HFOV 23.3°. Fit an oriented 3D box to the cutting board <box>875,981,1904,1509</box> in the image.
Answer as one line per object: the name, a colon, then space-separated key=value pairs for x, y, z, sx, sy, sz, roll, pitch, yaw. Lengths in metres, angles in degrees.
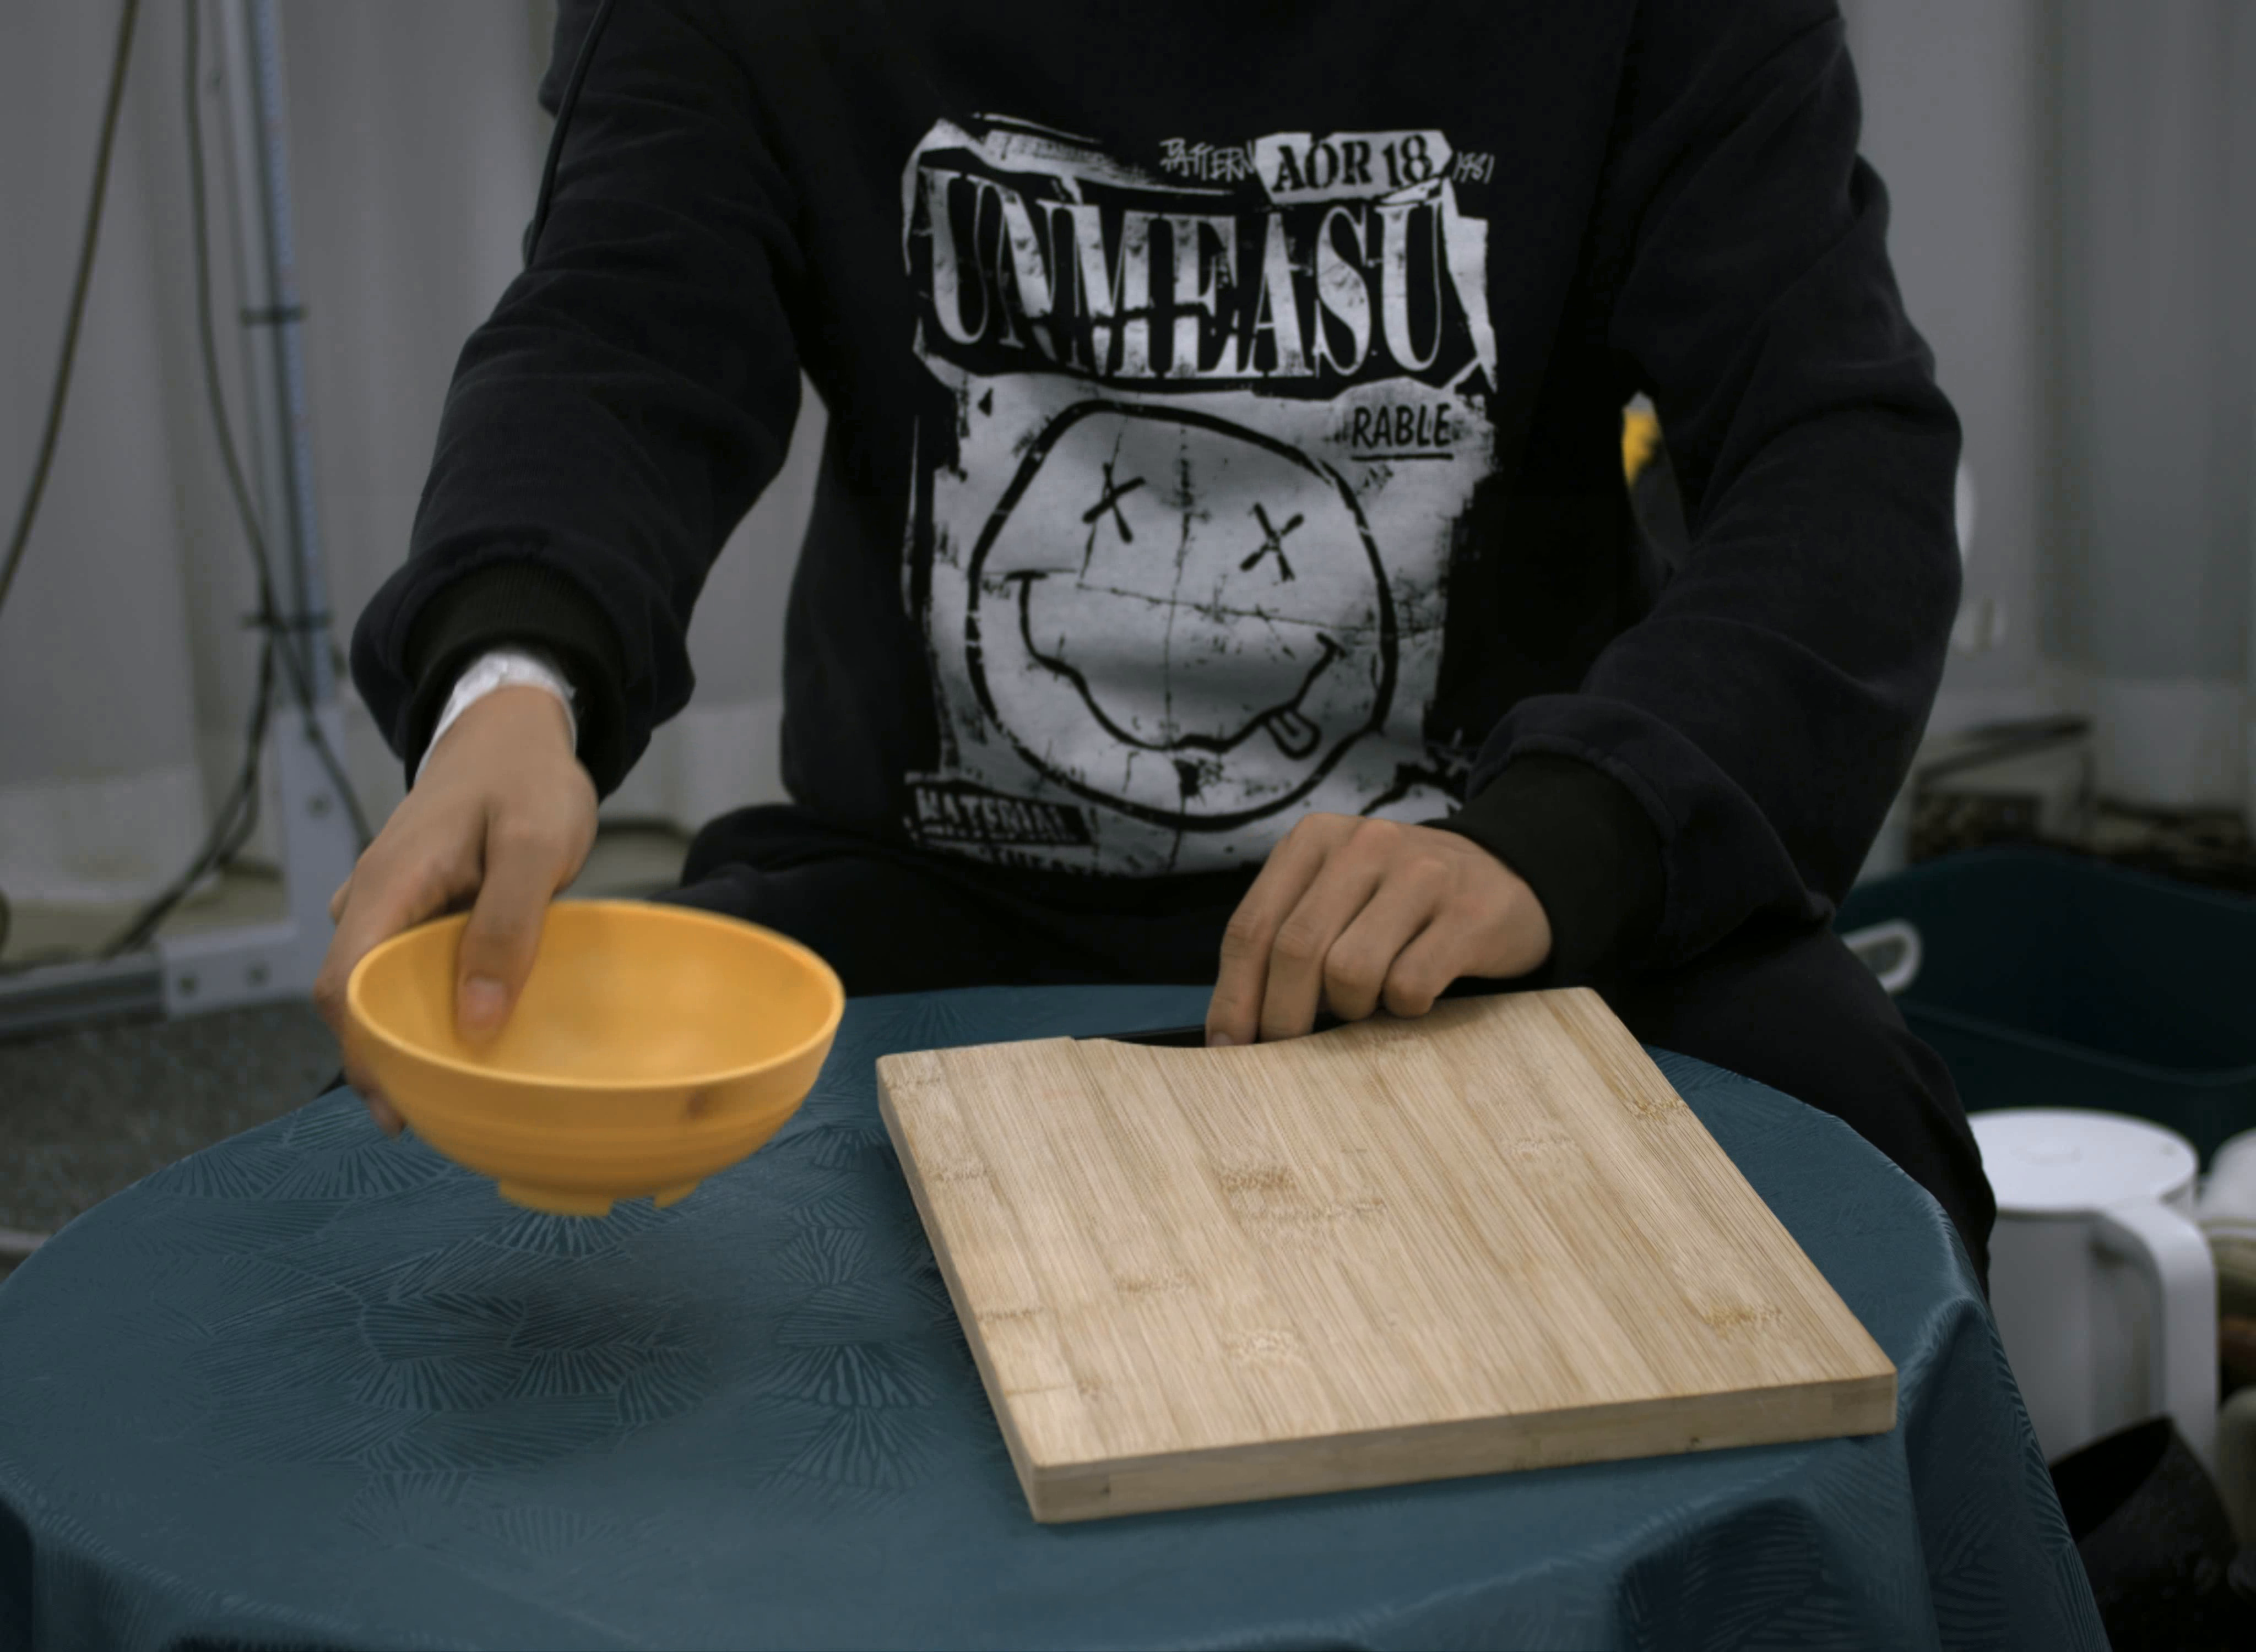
cutting board: x=0.065 y=0.119 z=1.633 sx=0.249 sy=0.023 sz=0.351 roll=-5 pitch=17 yaw=-9

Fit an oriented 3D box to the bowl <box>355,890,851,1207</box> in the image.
bowl: x=-0.155 y=0.071 z=1.602 sx=0.145 sy=0.060 sz=0.146 roll=5 pitch=19 yaw=-2
